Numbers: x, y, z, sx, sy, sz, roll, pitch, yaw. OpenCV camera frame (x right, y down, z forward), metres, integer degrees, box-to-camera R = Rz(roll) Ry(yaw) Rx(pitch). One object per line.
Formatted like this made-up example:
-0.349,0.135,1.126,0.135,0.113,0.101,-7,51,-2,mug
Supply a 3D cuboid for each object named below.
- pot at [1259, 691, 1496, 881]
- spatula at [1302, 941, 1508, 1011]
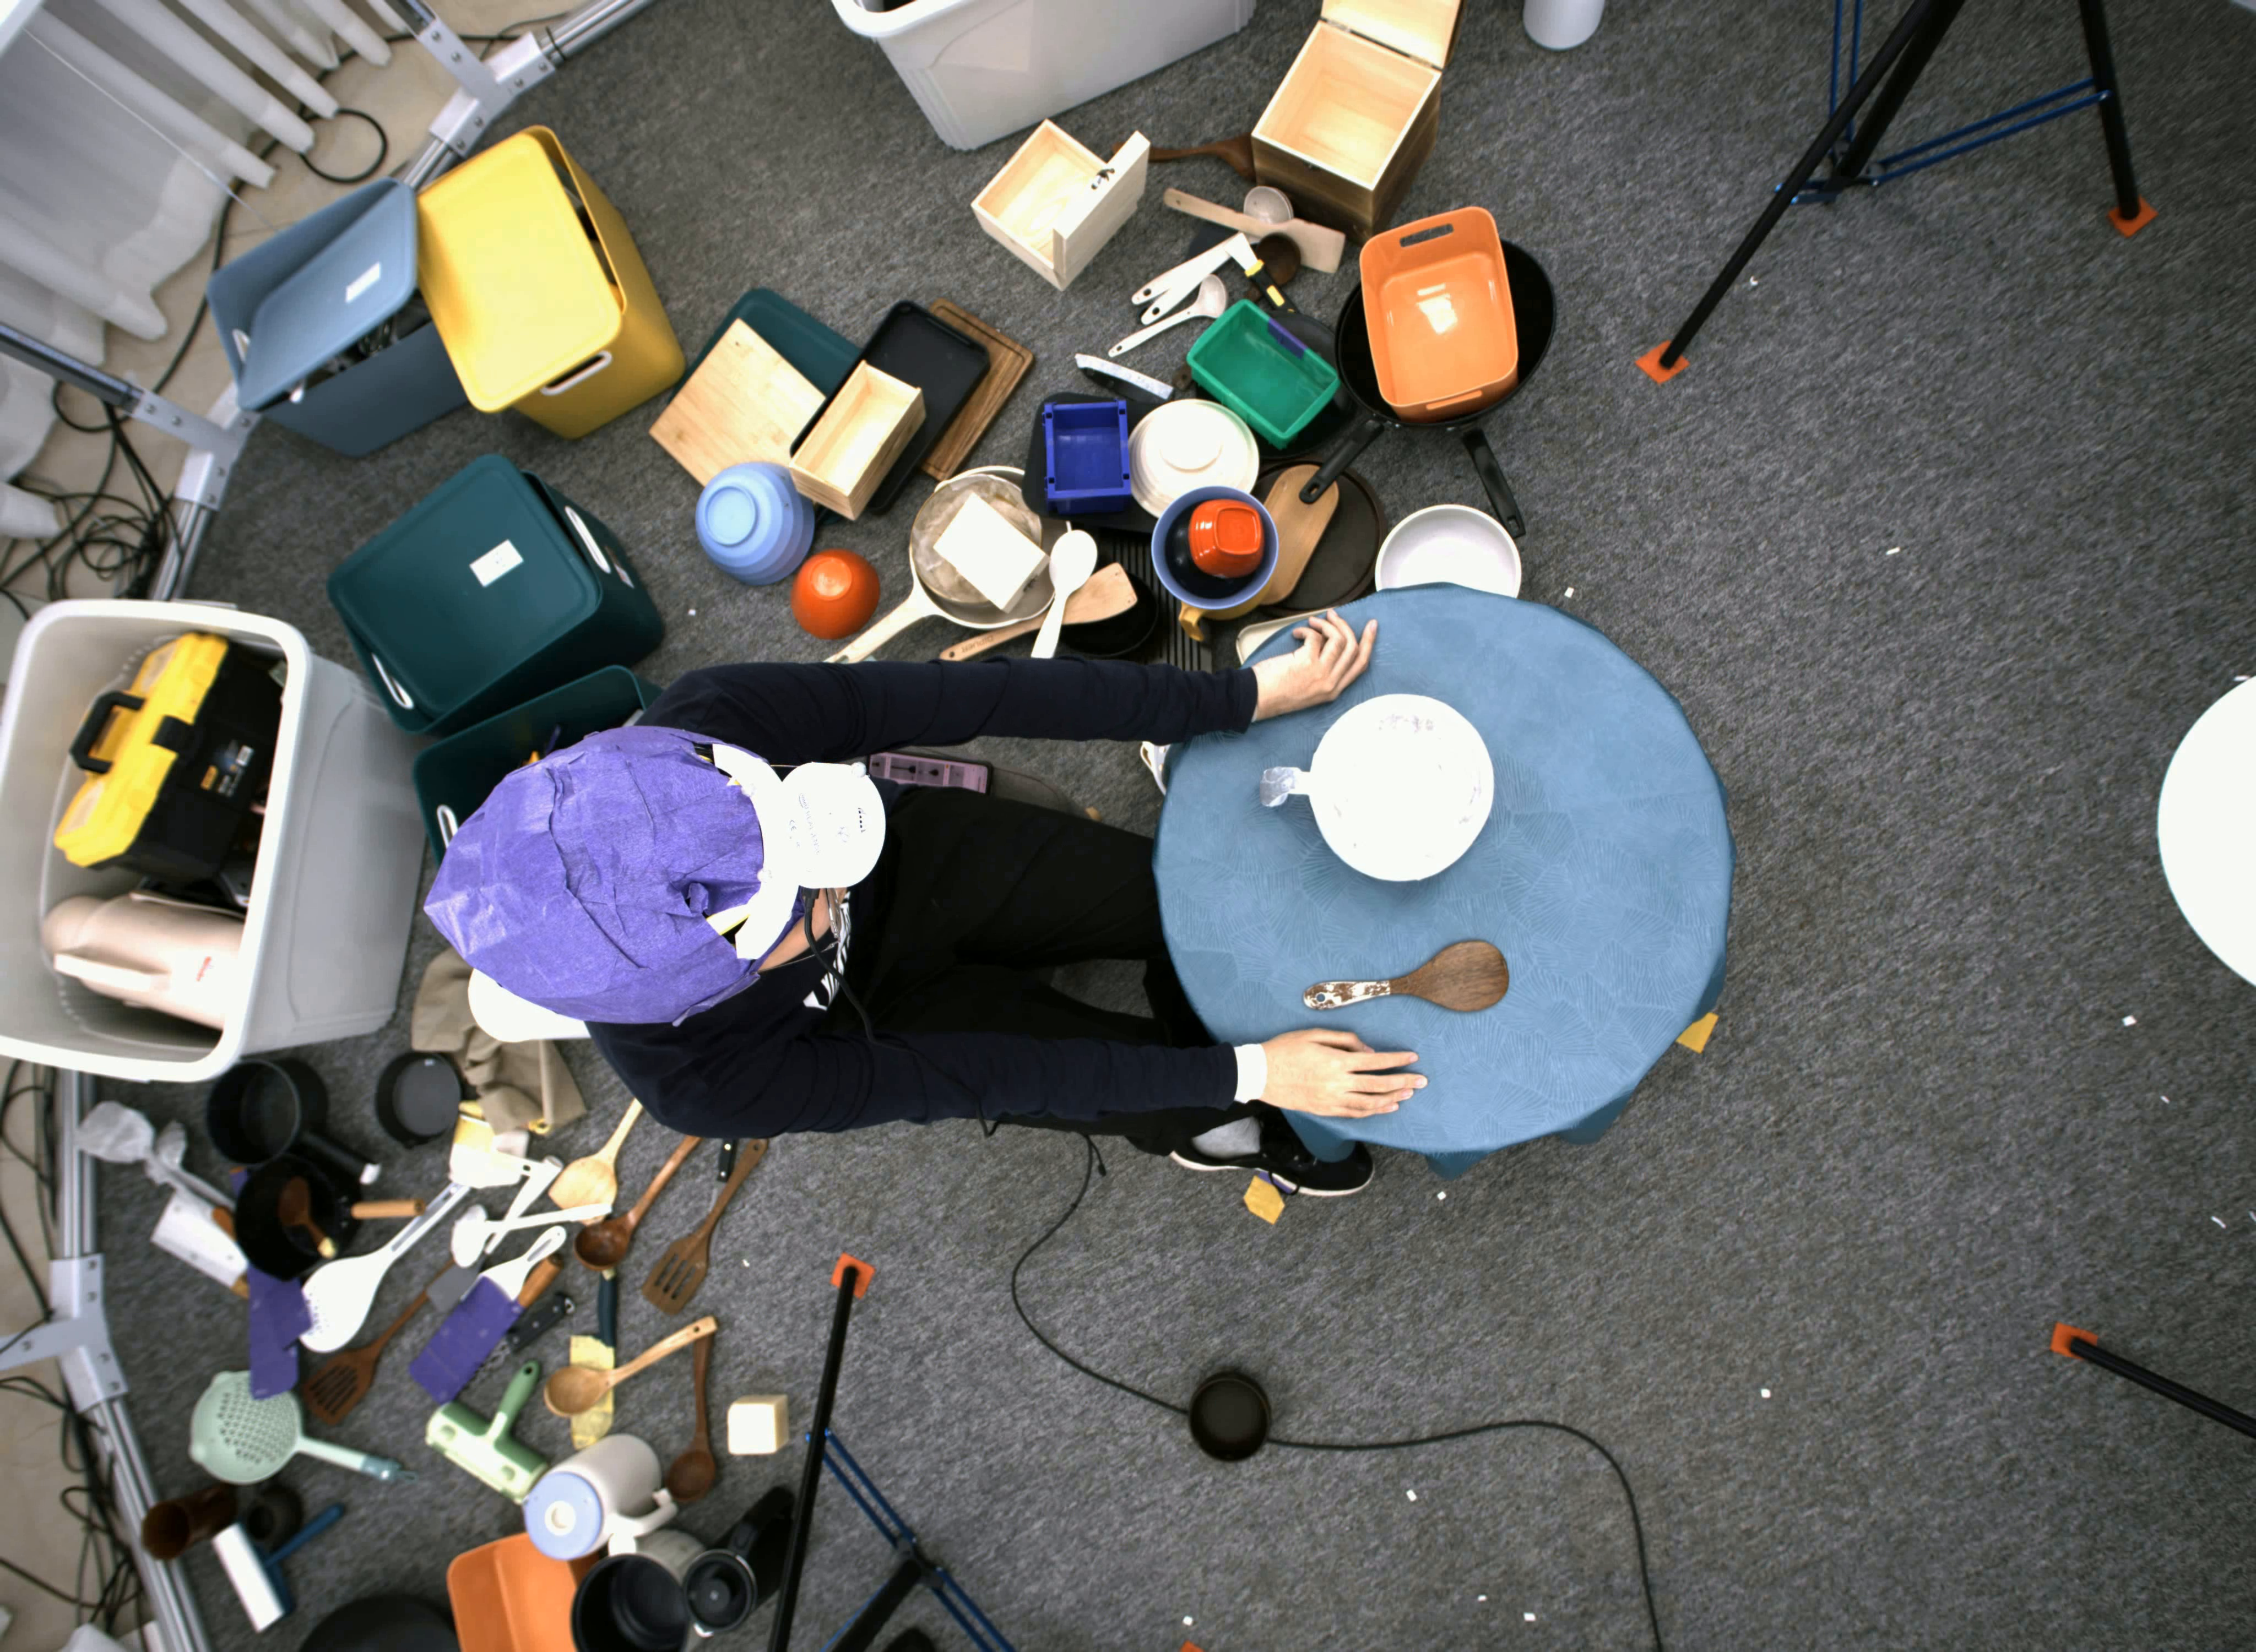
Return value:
0.248,-0.037,1.399,0.234,0.137,0.177,2,83,9,pot
0.289,0.165,1.448,0.217,0.009,0.071,-9,84,11,spatula
